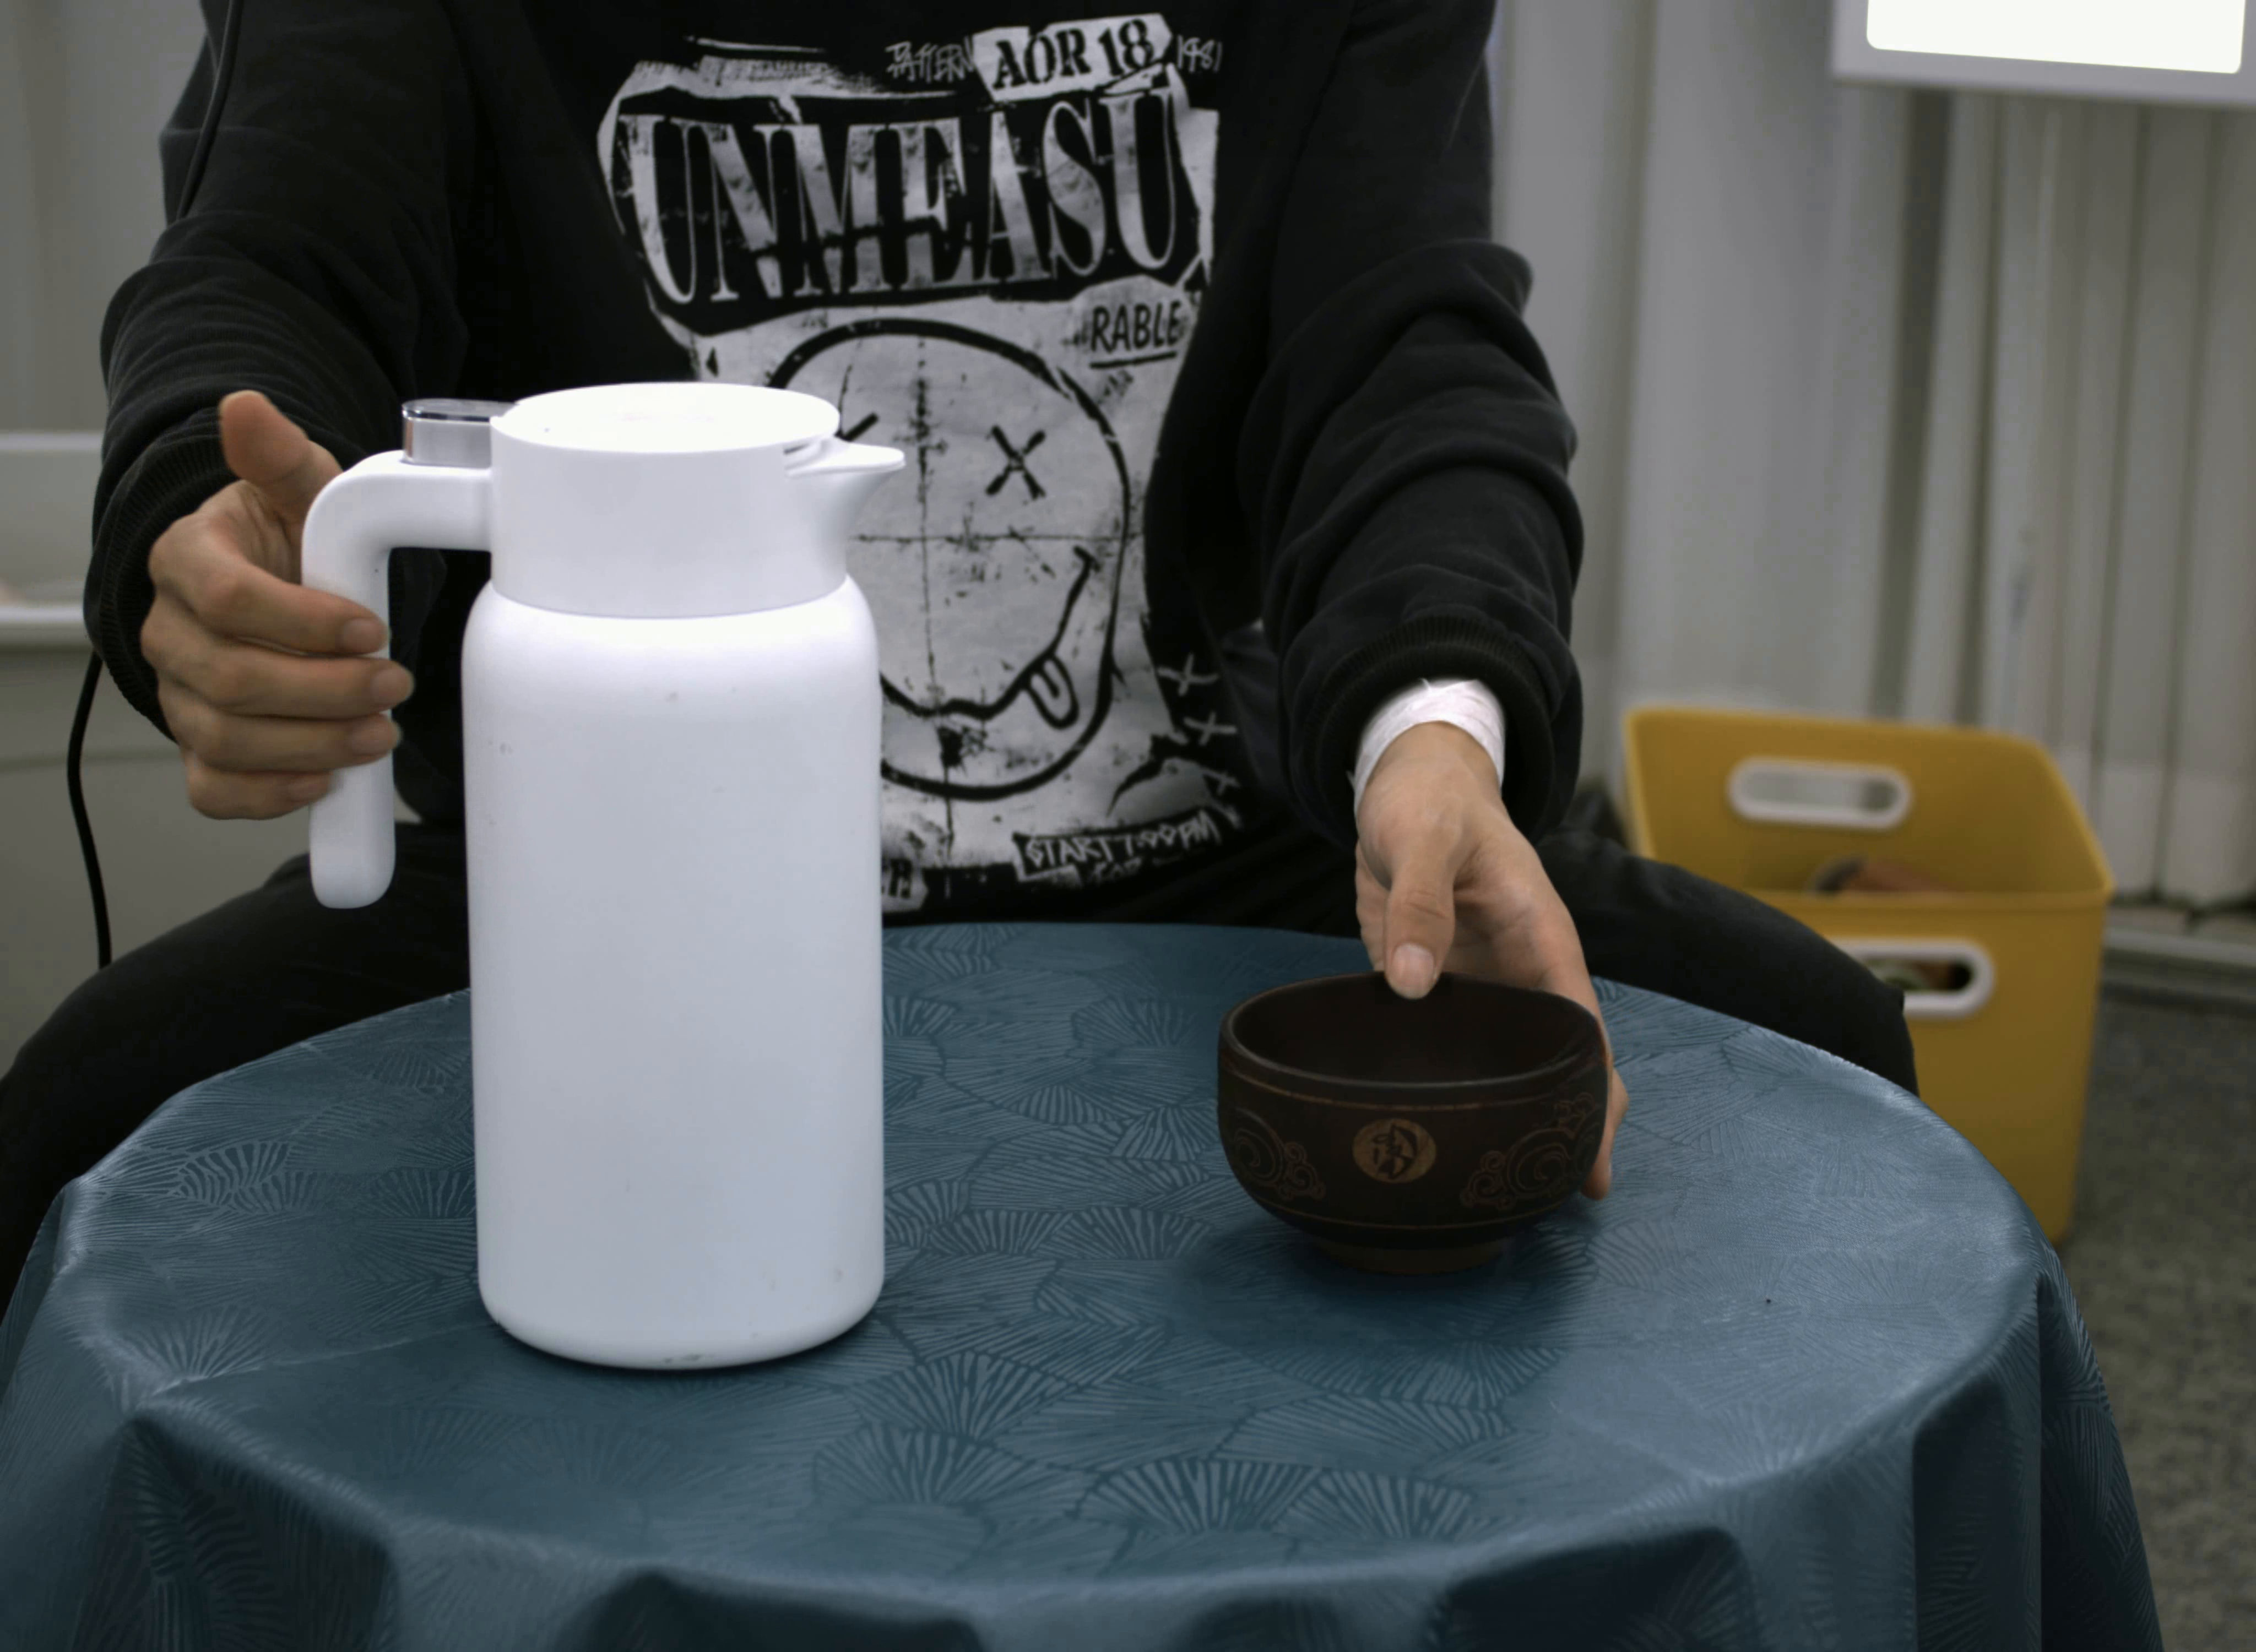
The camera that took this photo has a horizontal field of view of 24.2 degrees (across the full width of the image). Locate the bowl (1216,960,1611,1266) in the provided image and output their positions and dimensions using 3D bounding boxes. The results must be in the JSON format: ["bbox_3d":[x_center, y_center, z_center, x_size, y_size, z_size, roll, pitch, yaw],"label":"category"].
[{"bbox_3d":[0.085,0.089,1.569,0.117,0.070,0.117,0,15,1],"label":"bowl"}]

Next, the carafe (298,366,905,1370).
[{"bbox_3d":[-0.146,0.011,1.483,0.172,0.271,0.123,2,18,8],"label":"carafe"}]
